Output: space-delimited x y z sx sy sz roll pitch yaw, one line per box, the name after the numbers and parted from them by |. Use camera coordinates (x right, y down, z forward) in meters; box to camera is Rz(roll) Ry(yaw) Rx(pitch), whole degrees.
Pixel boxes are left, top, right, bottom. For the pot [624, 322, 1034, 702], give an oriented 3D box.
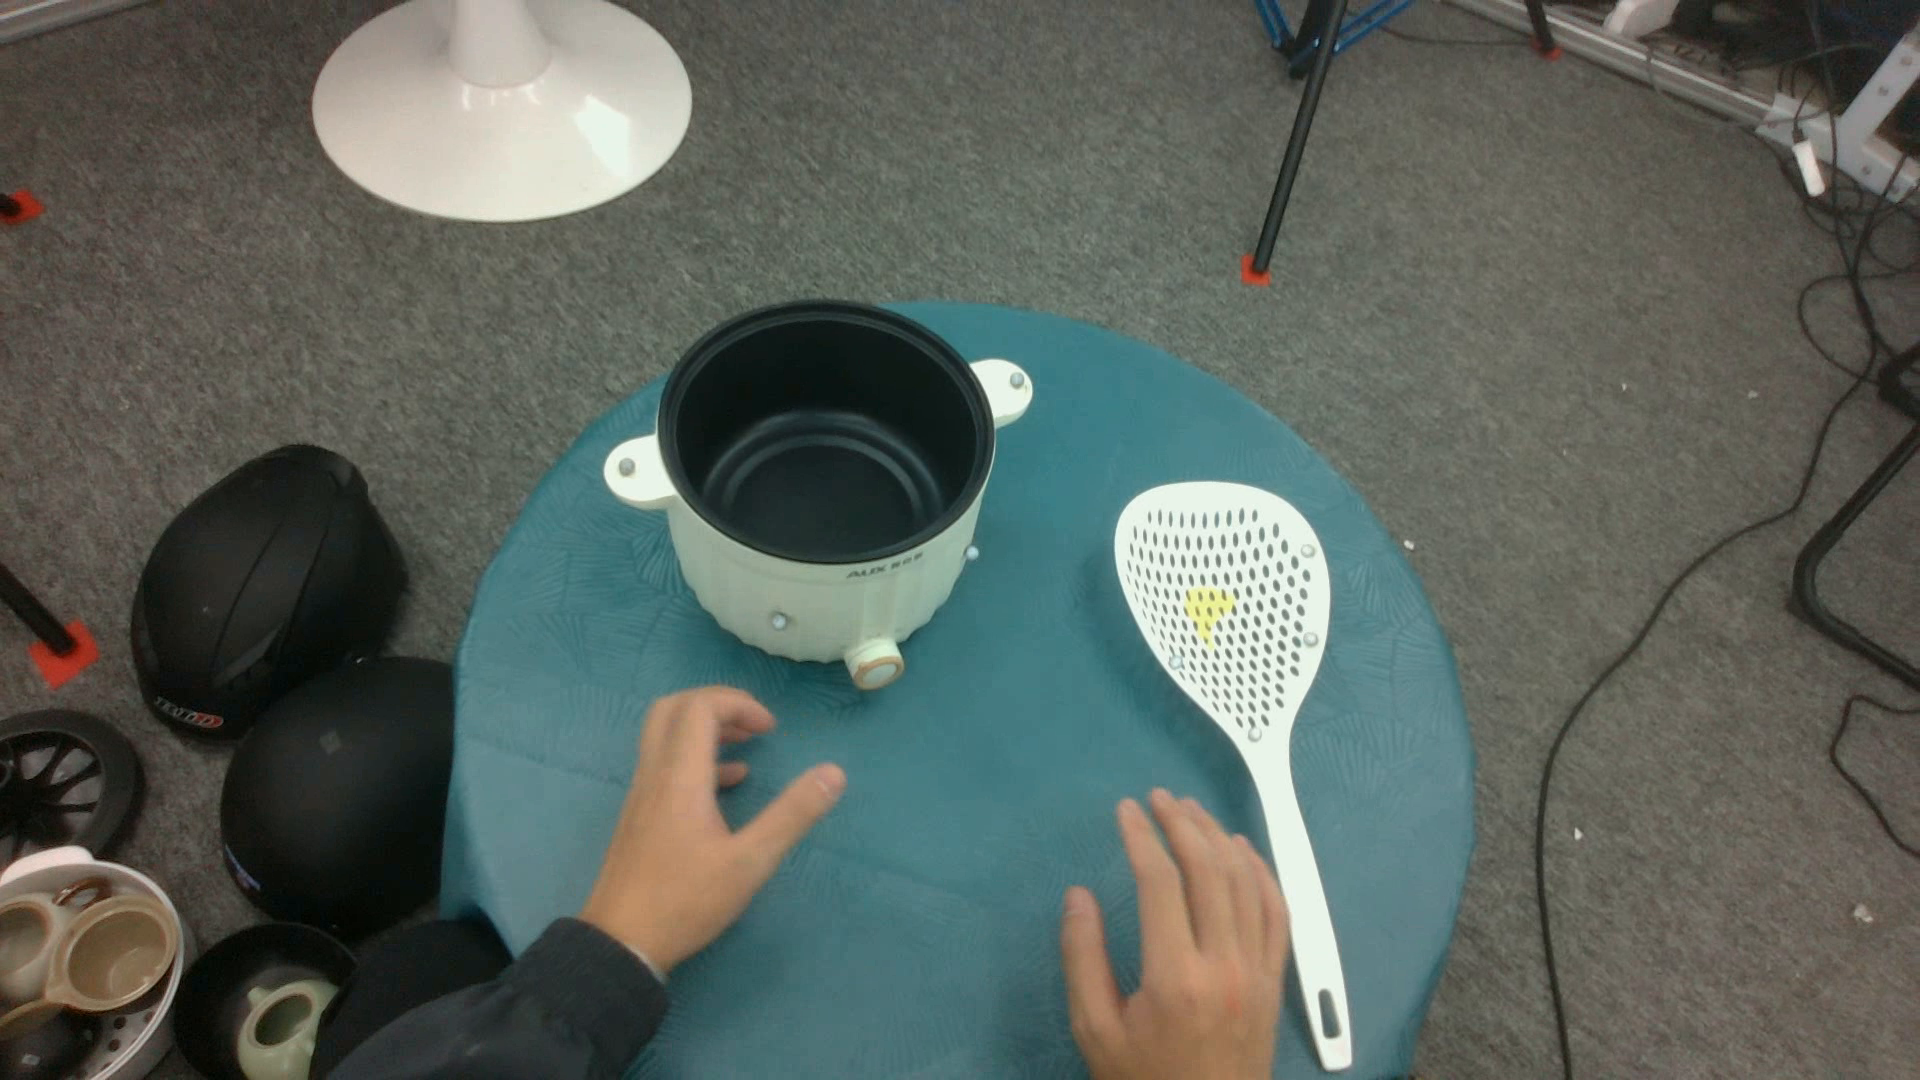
-0.068 -0.011 0.806 0.241 0.142 0.191 -19 55 -17 | pot

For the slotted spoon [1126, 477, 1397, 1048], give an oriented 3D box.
0.187 0.112 0.799 0.137 0.050 0.349 -4 54 -11 | slotted spoon
